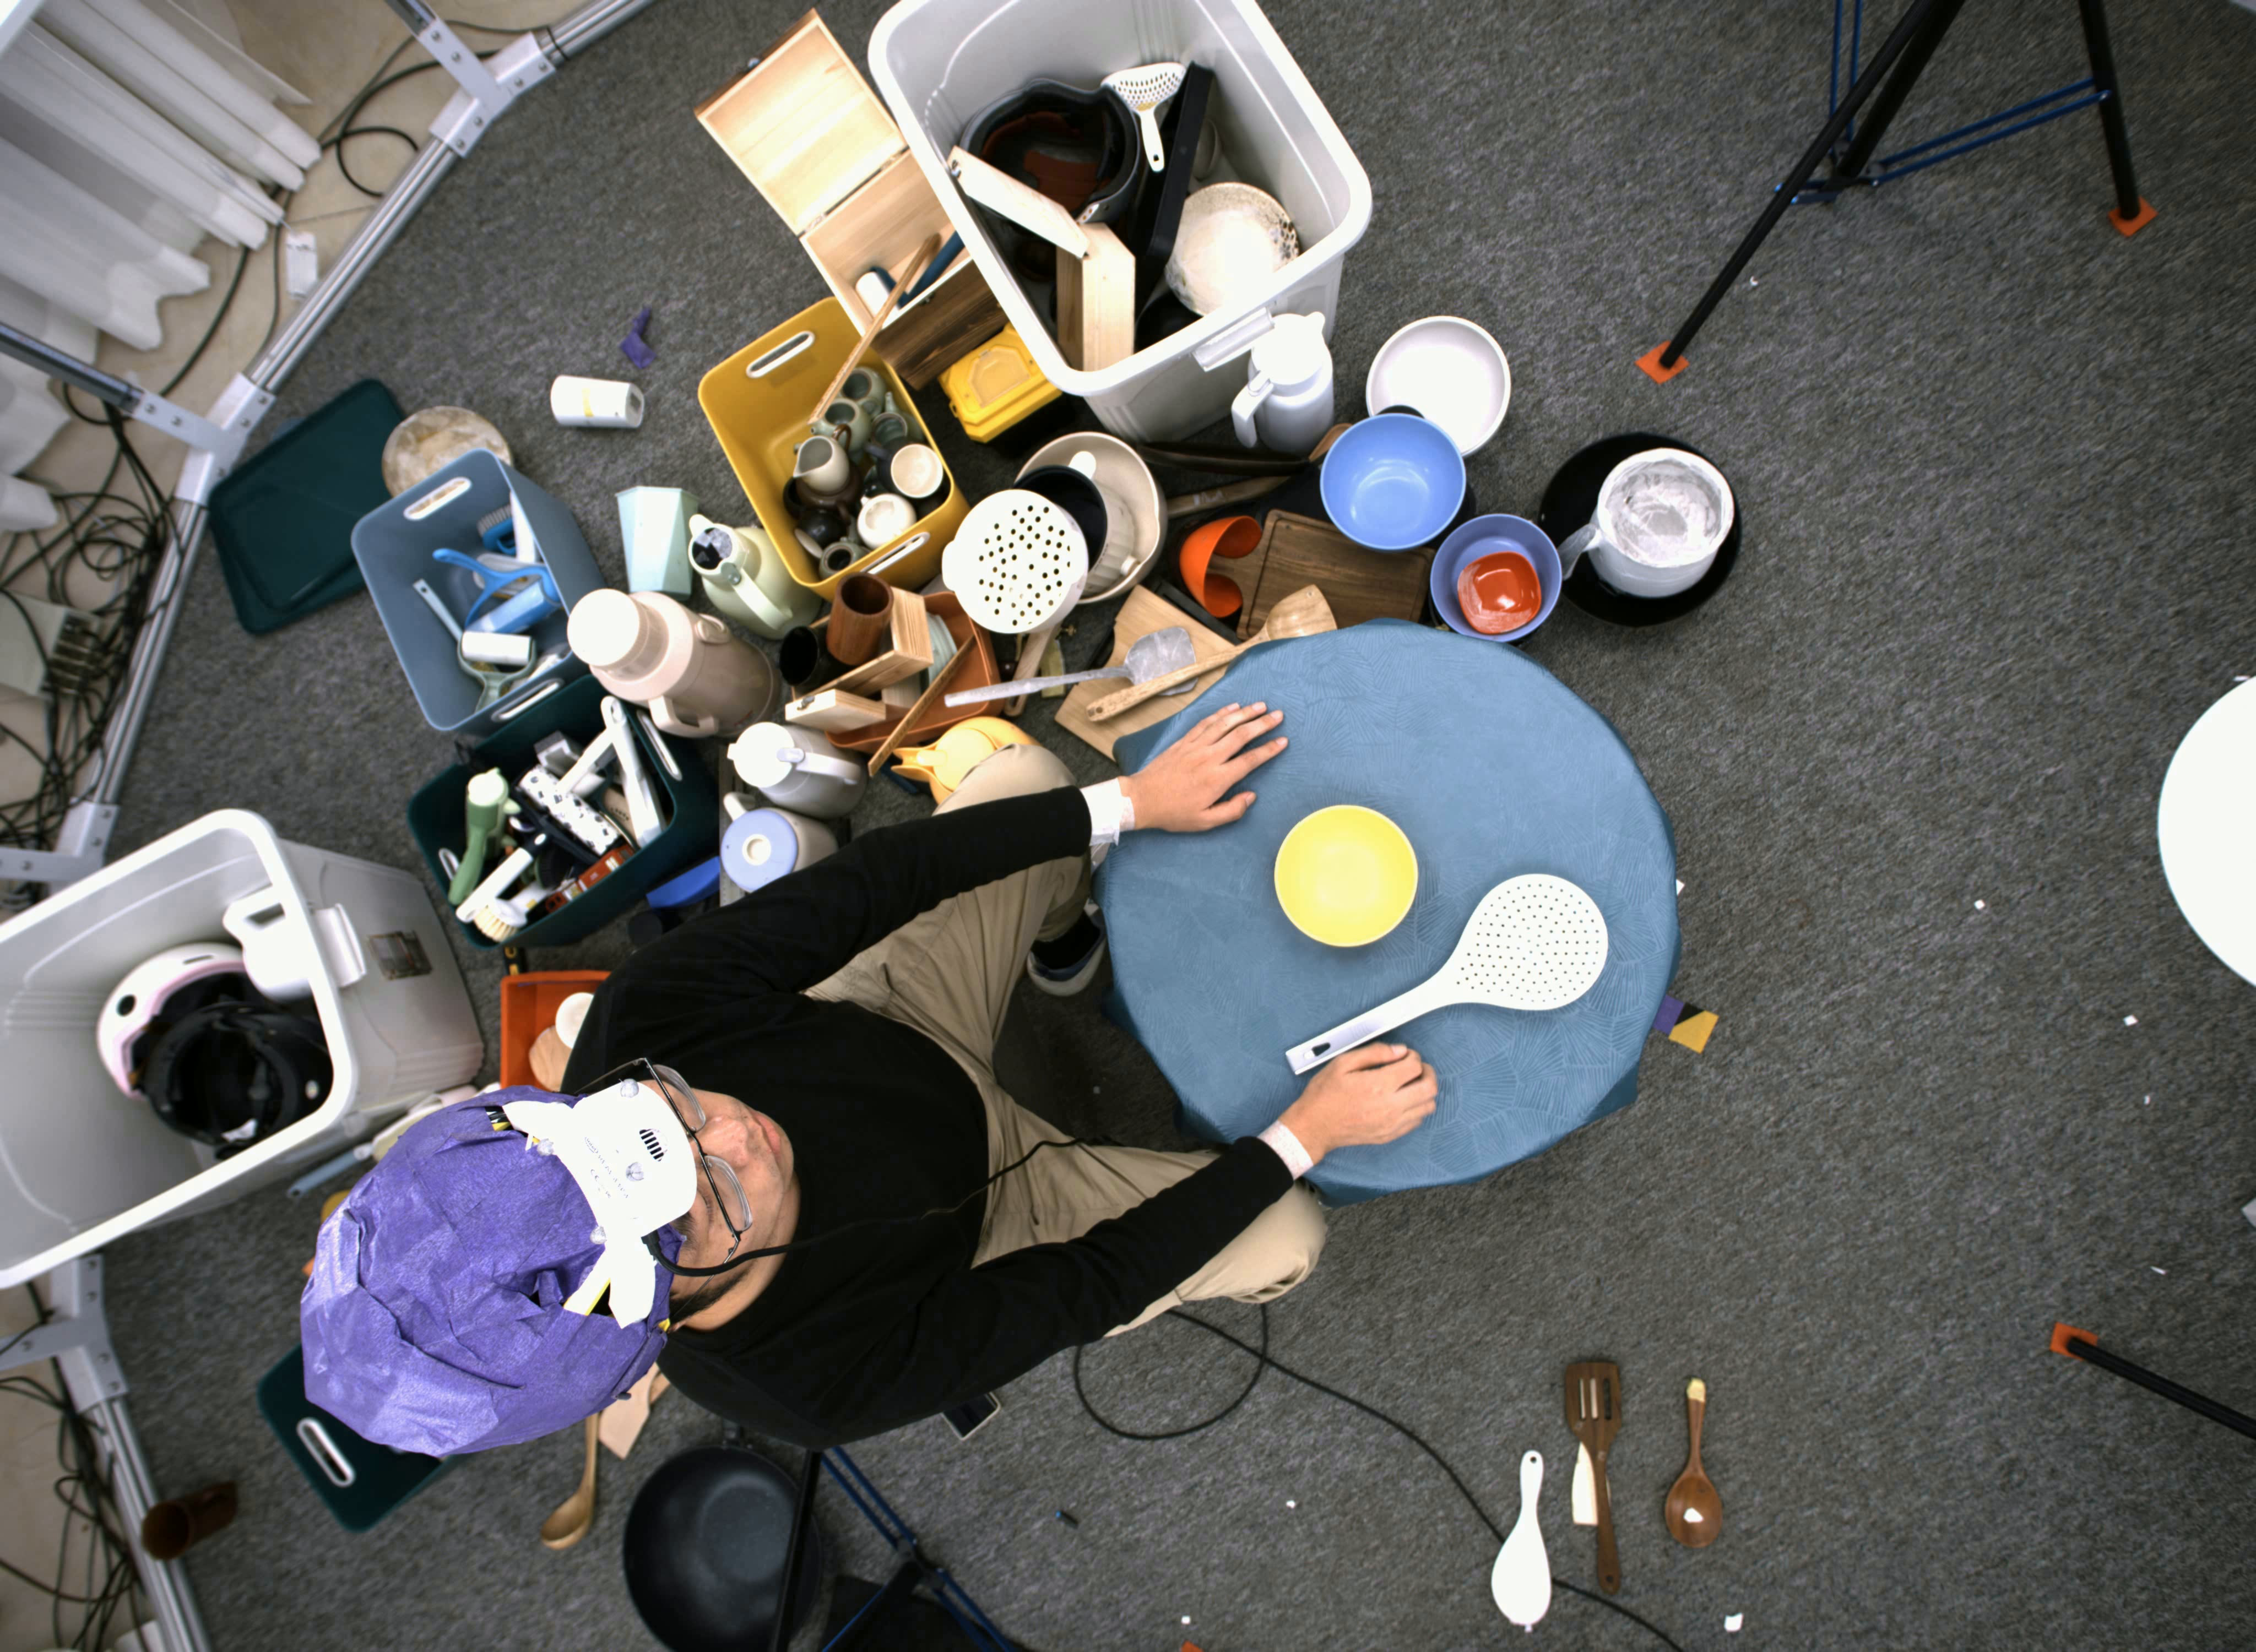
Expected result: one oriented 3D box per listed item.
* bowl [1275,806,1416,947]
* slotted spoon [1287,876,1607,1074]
[{"bbox_3d":[0.227,0.054,1.441,0.146,0.060,0.144,-1,84,10],"label":"bowl"},{"bbox_3d":[0.323,0.168,1.421,0.352,0.046,0.134,-28,75,9],"label":"slotted spoon"}]
